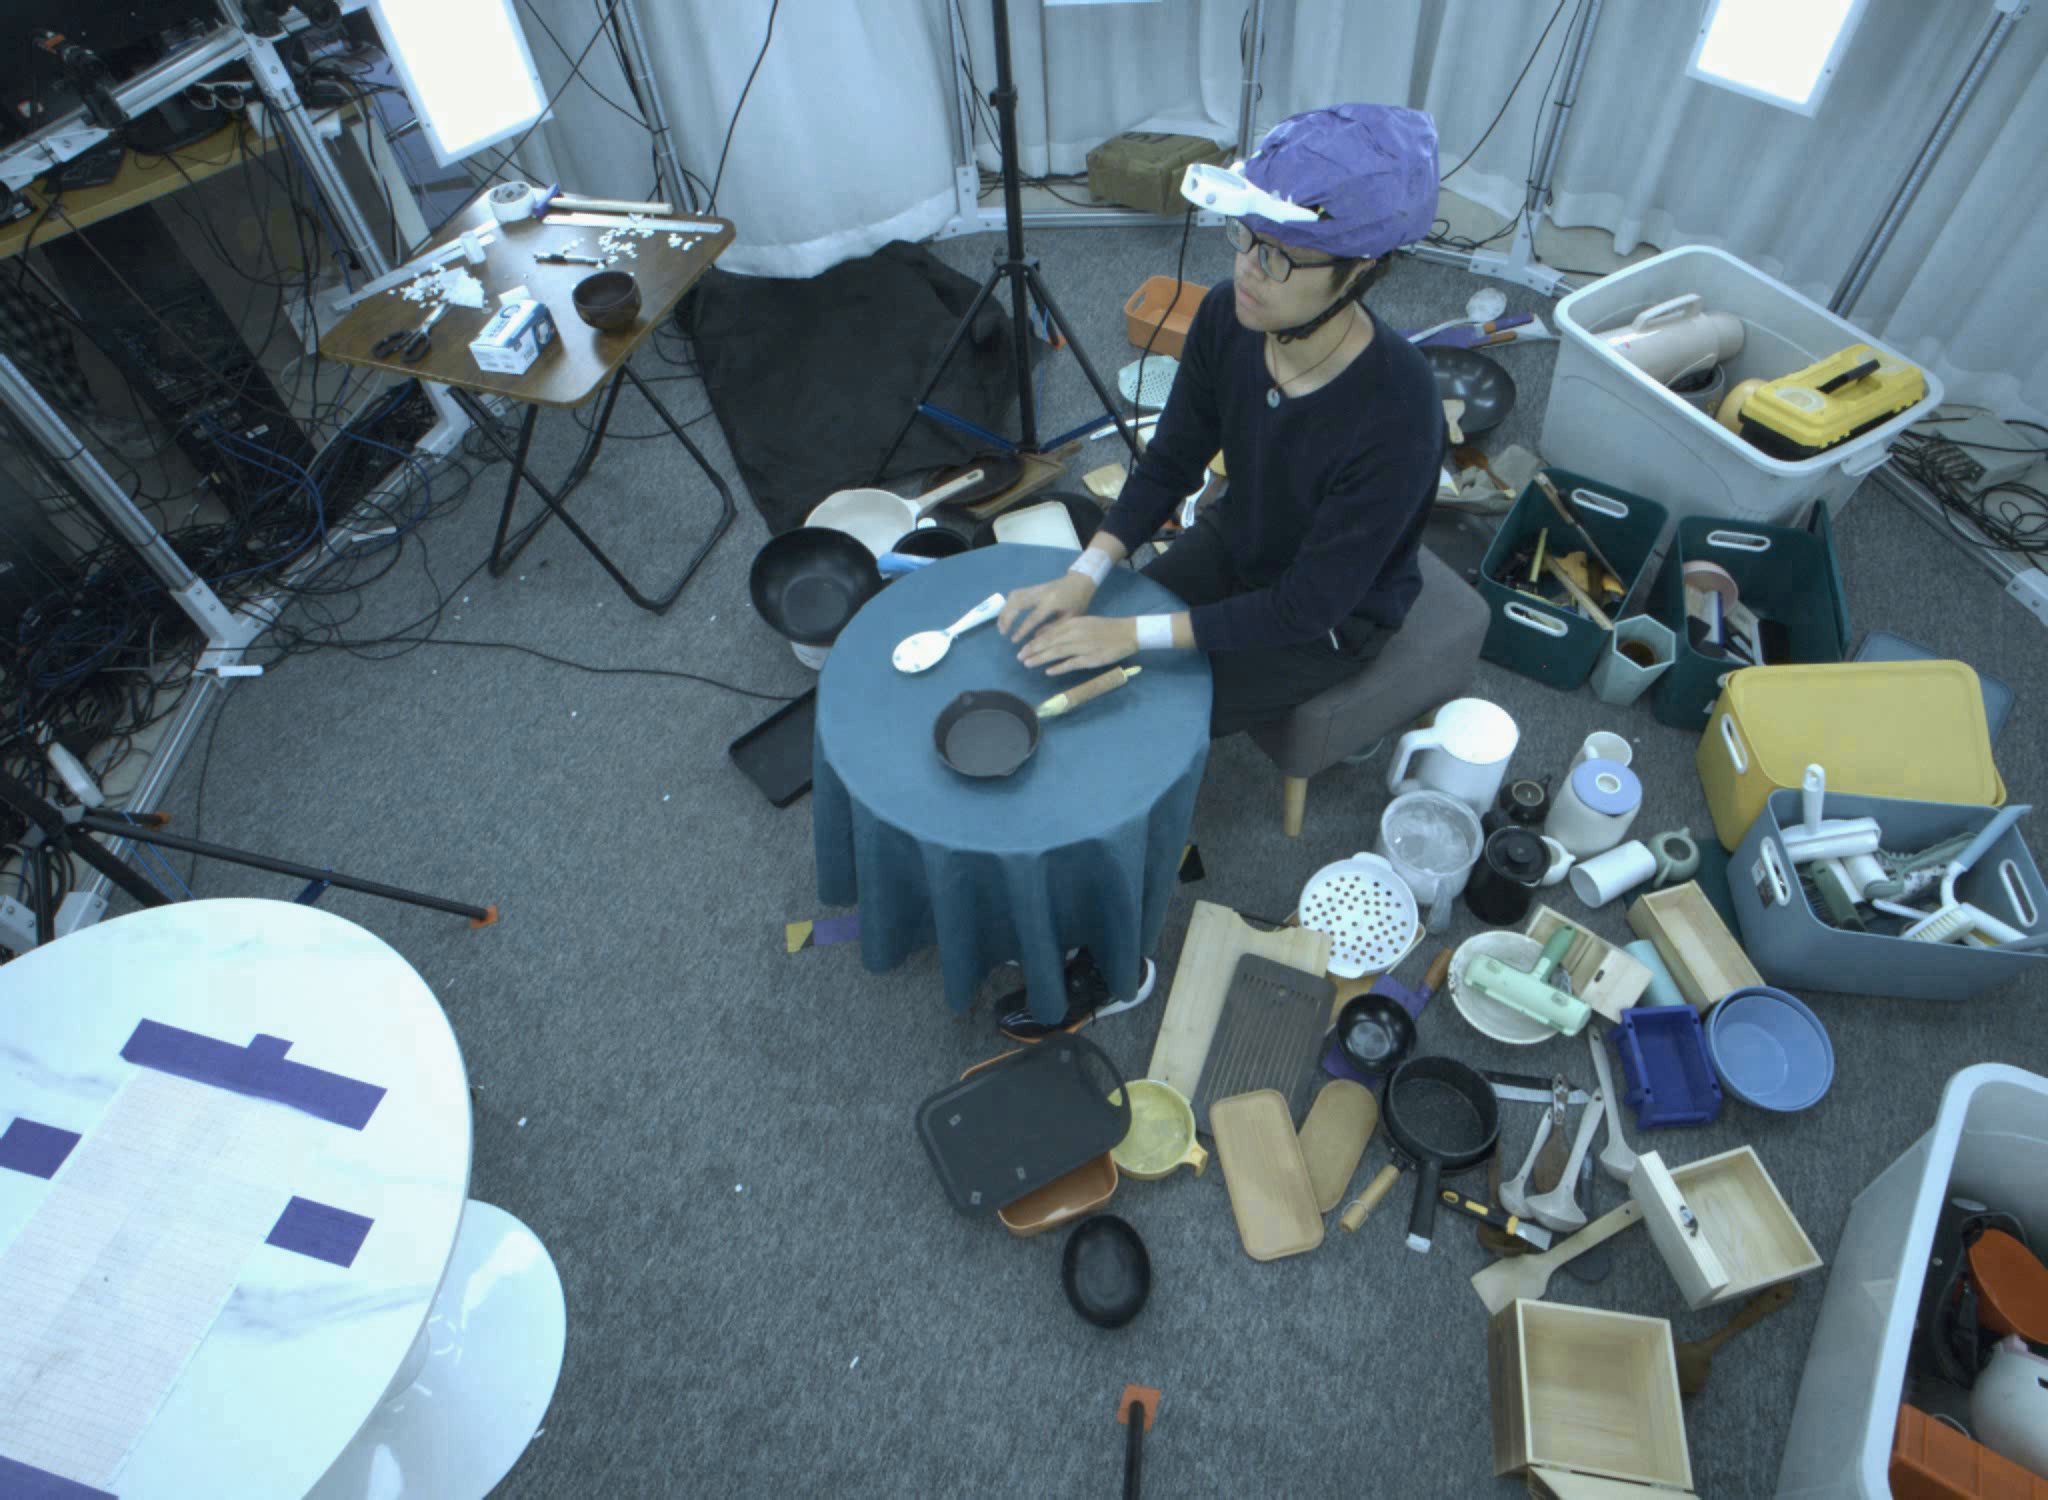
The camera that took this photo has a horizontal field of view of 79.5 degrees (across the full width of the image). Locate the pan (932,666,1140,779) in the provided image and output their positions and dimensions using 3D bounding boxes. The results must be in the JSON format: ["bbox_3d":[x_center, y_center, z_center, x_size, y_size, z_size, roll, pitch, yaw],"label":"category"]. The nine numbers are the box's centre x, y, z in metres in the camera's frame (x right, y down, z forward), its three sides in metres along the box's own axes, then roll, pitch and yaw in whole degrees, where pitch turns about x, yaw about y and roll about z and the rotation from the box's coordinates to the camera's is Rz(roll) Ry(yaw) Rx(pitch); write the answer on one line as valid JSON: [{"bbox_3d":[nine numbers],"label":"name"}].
[{"bbox_3d":[0.023,-0.052,1.792,0.326,0.050,0.166,-21,56,-10],"label":"pan"}]

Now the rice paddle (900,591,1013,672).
[{"bbox_3d":[-0.106,-0.183,1.907,0.207,0.030,0.067,-35,59,-19],"label":"rice paddle"}]
